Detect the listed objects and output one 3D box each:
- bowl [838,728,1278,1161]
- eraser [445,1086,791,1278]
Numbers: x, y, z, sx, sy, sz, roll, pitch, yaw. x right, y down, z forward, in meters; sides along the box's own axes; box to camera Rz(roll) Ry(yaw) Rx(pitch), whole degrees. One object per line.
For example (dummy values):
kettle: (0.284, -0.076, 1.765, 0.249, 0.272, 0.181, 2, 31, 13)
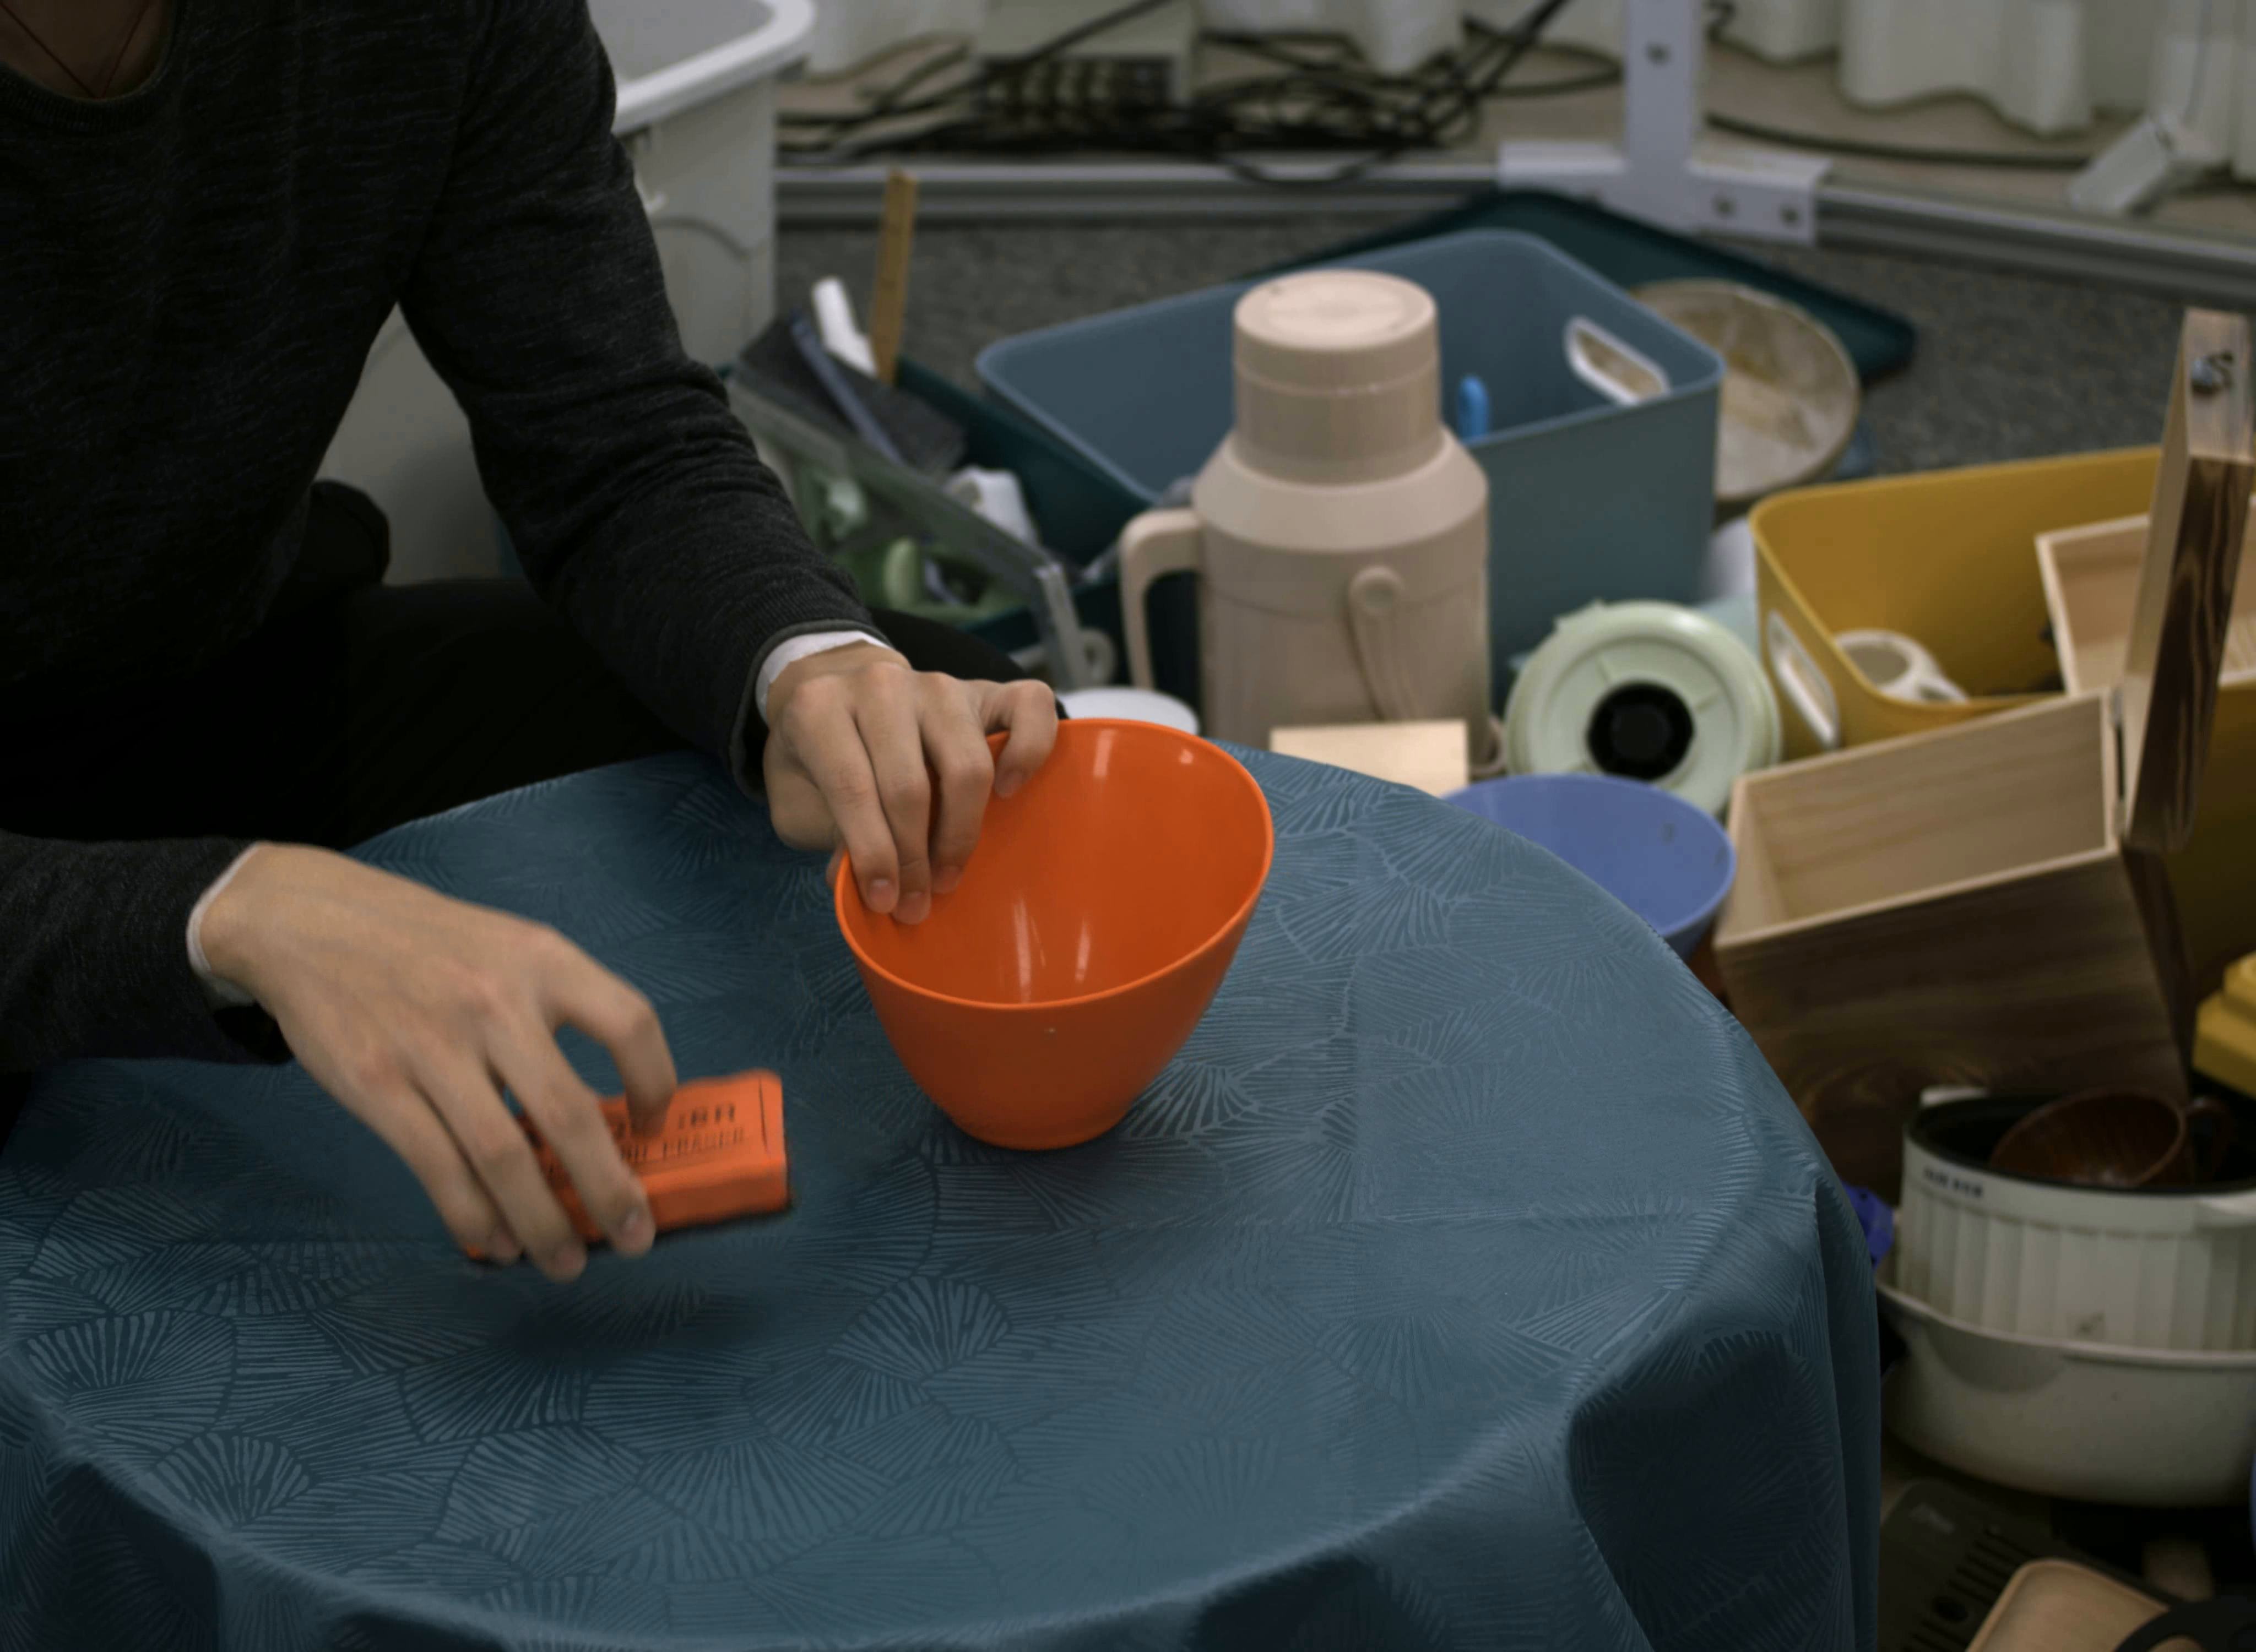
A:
bowl: (-0.022, 0.048, 1.891, 0.147, 0.103, 0.150, 0, 32, 1)
eraser: (-0.162, 0.113, 1.783, 0.107, 0.022, 0.060, -8, 31, -3)
